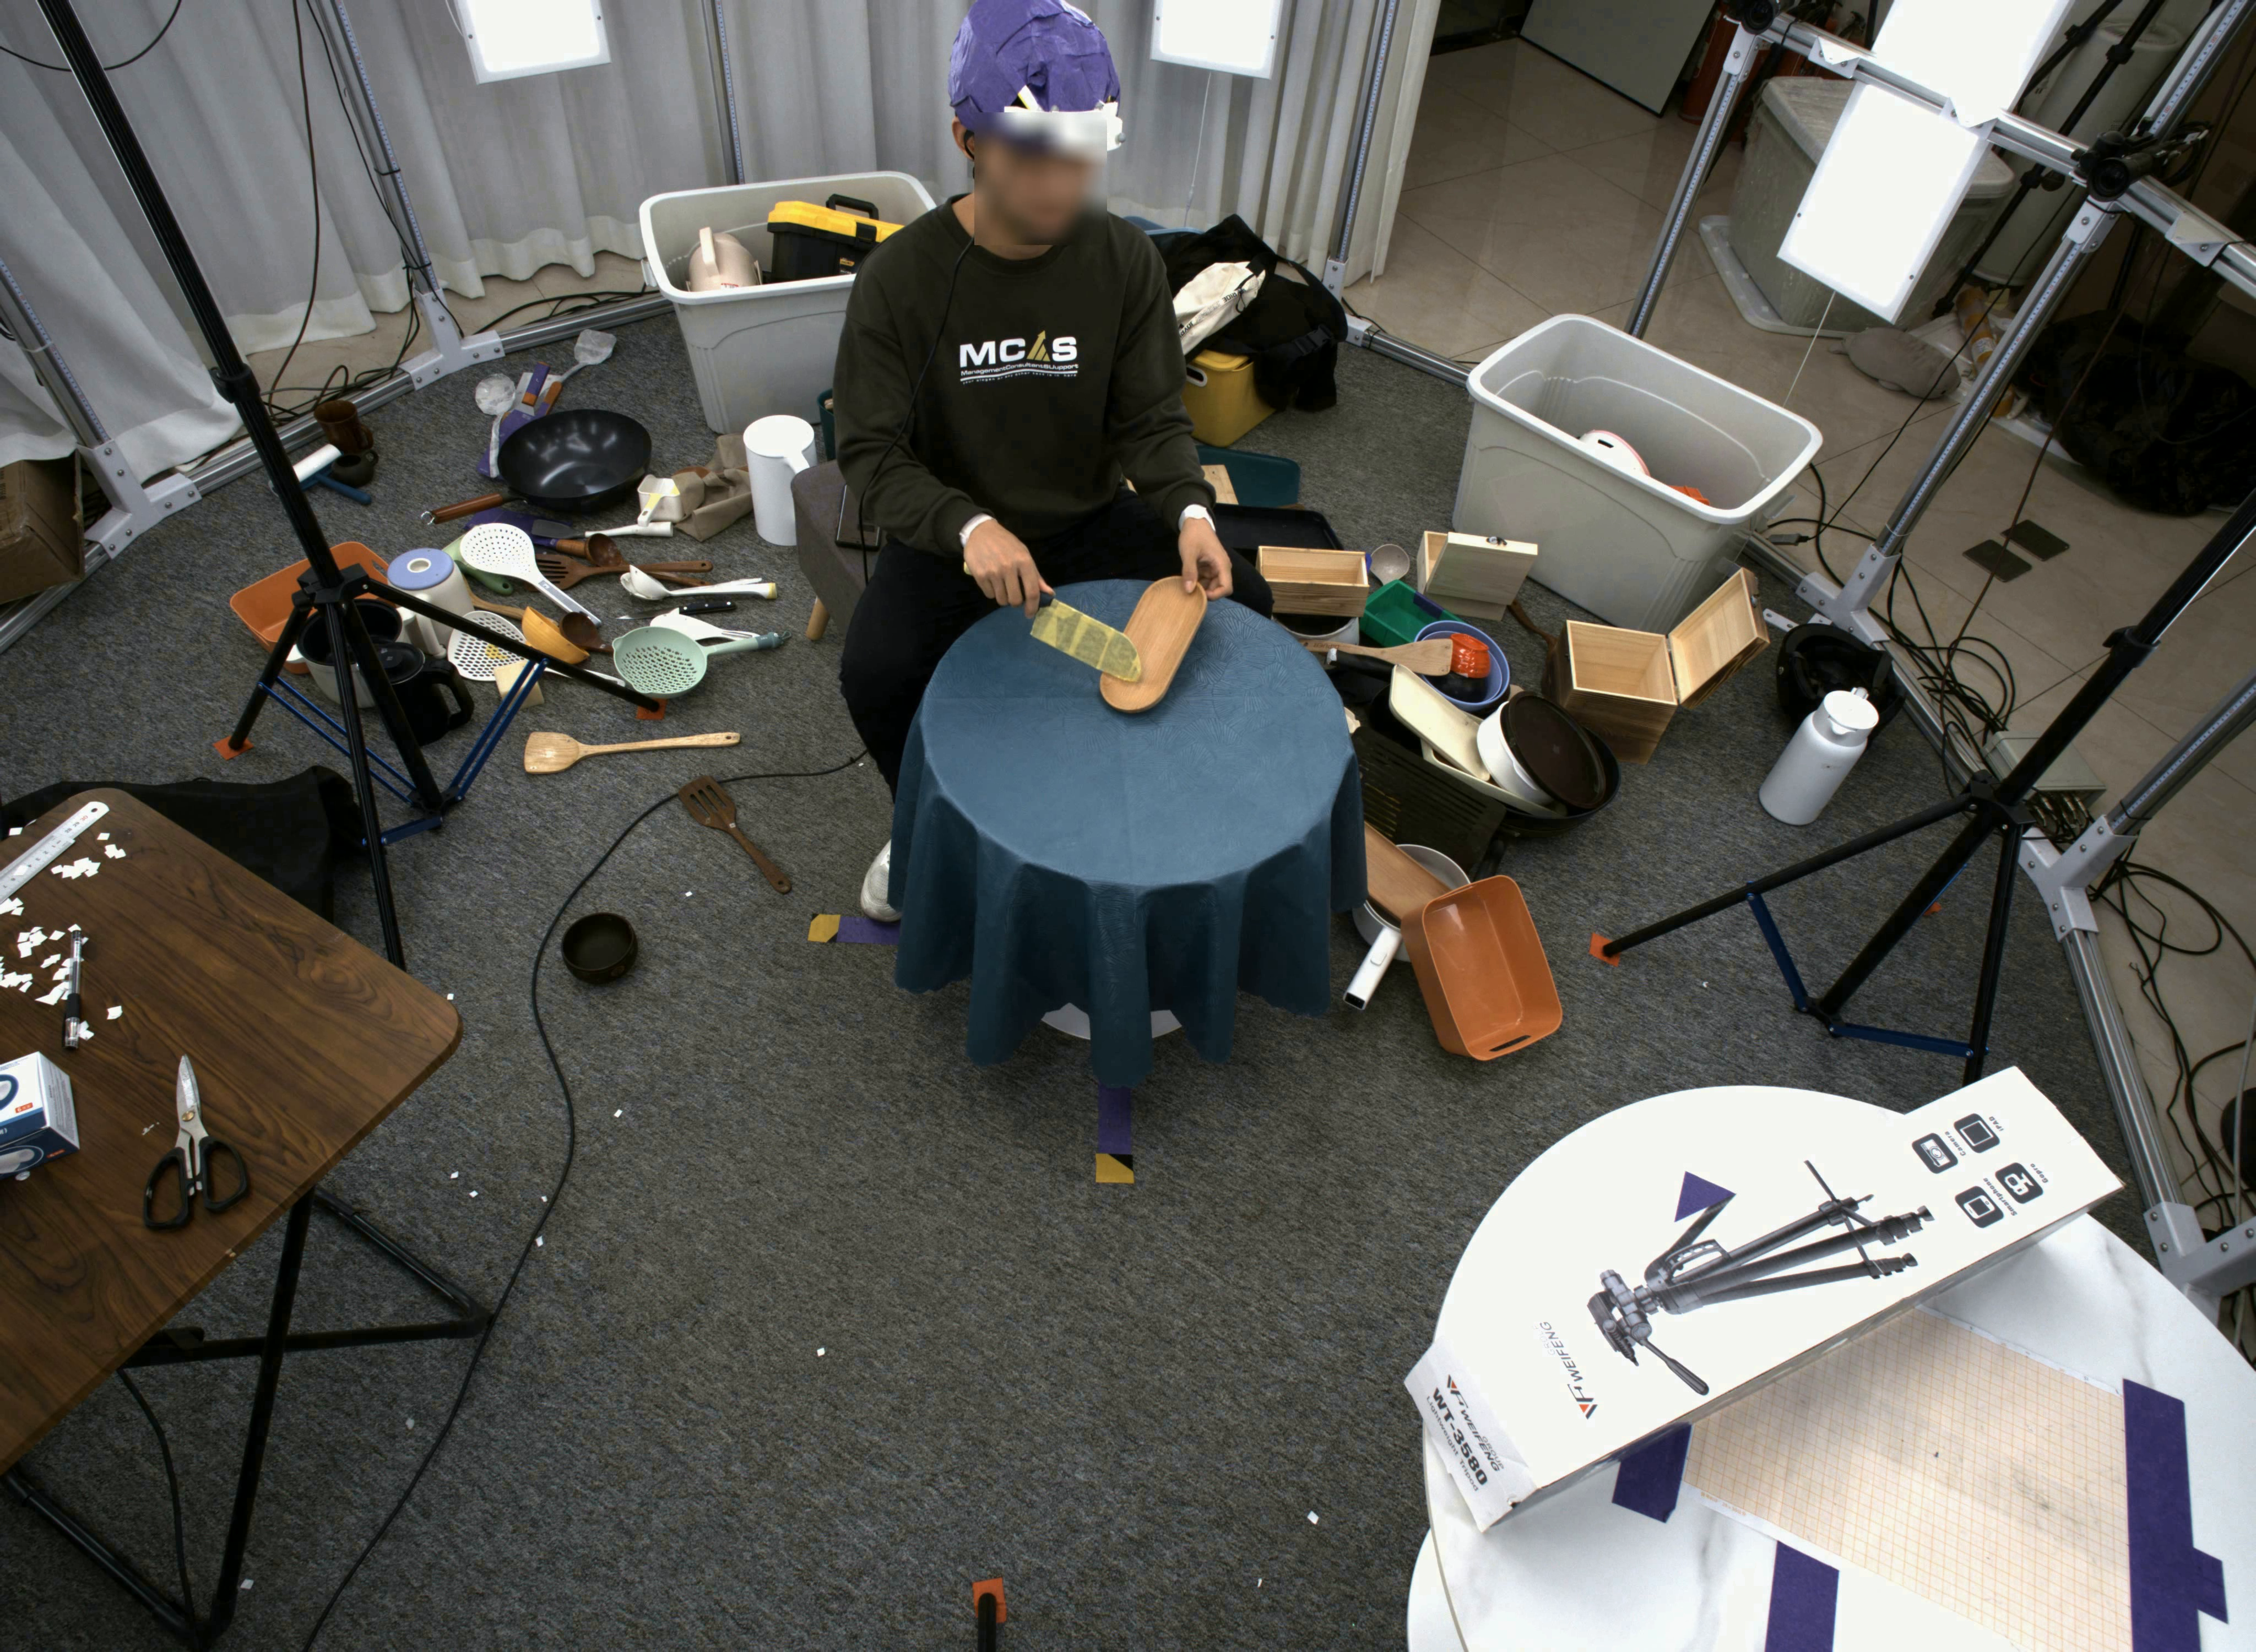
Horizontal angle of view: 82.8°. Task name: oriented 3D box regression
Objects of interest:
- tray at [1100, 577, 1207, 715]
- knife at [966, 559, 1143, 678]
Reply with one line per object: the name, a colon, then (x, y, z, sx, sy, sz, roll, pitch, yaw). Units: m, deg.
tray: (0.038, -0.258, 1.835, 0.102, 0.020, 0.234, 17, 70, 24)
knife: (-0.104, -0.290, 1.807, 0.290, 0.079, 0.027, 31, 37, 5)
